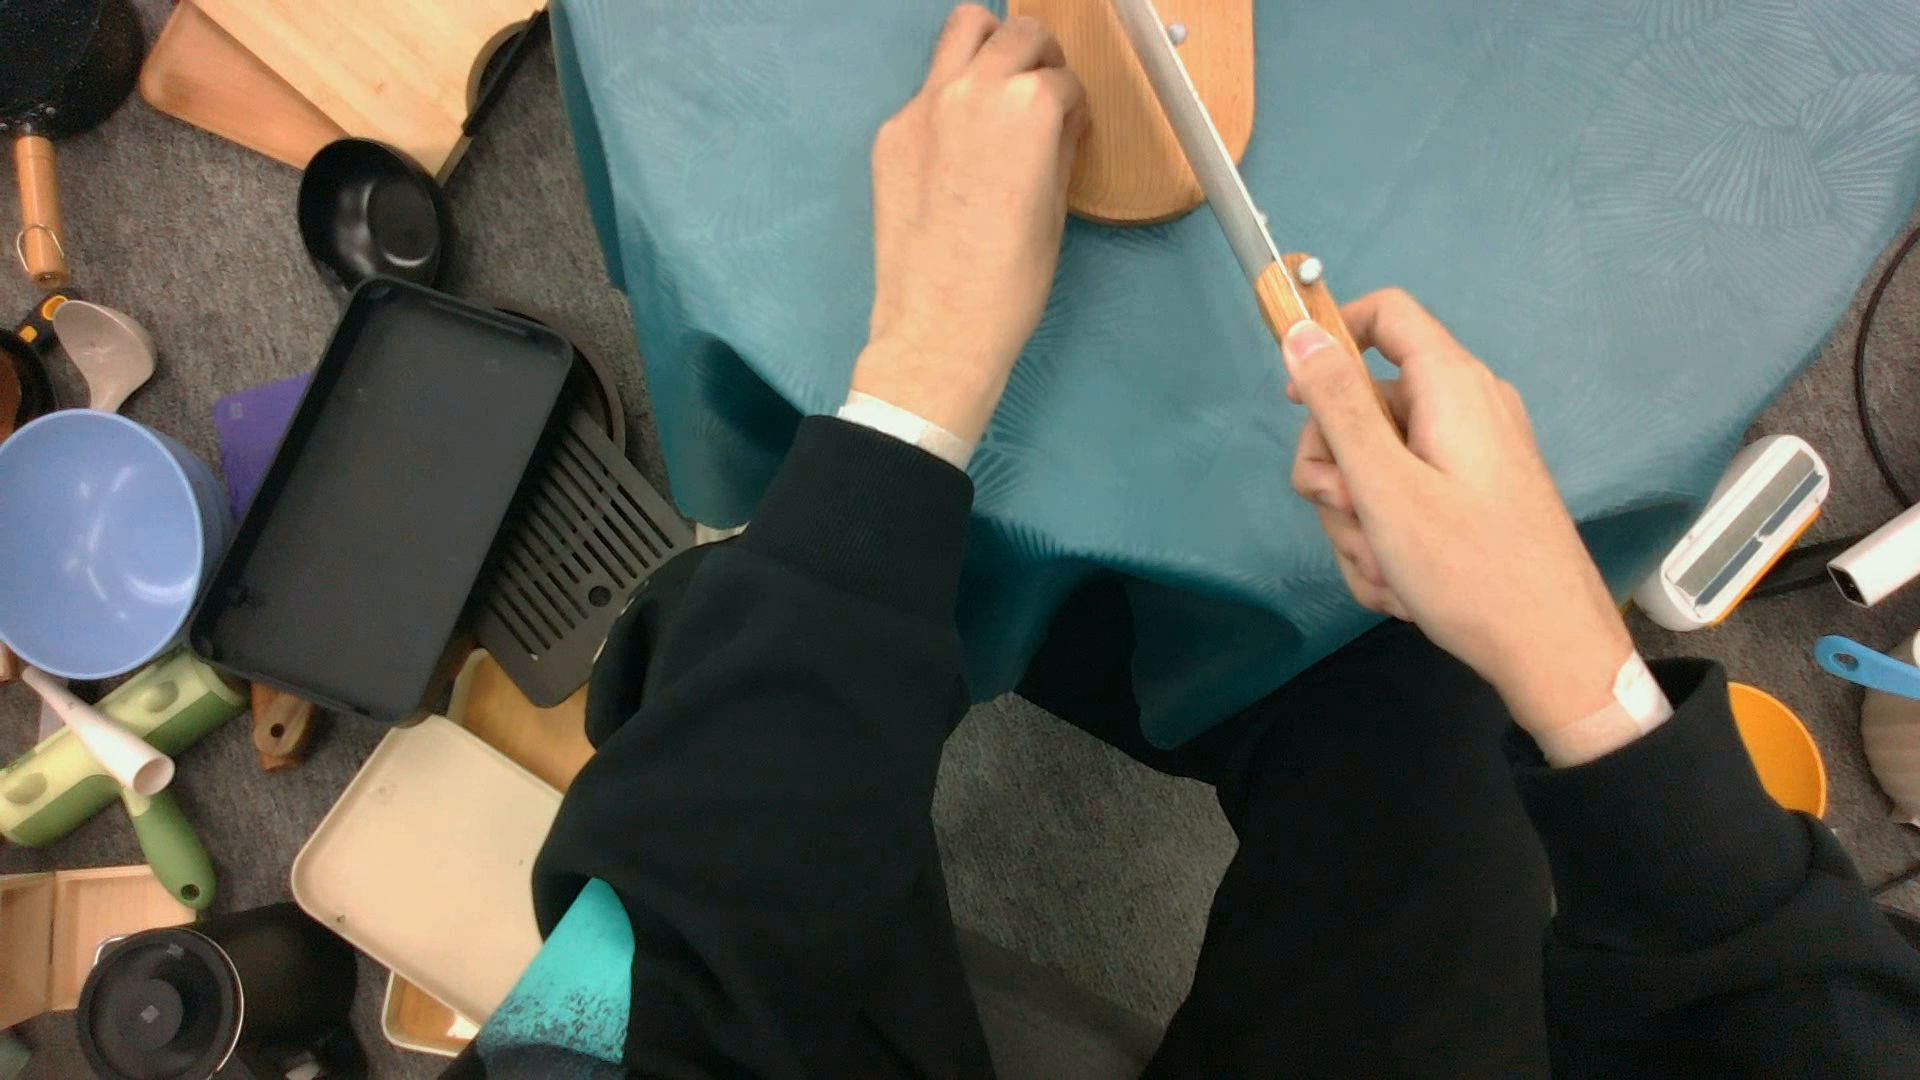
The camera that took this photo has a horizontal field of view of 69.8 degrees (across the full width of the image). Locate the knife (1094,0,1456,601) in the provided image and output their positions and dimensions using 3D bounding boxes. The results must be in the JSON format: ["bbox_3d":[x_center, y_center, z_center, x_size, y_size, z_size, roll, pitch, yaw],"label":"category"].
[{"bbox_3d":[0.097,-0.114,0.497,0.021,0.093,0.306,-25,76,7],"label":"knife"}]

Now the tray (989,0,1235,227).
[{"bbox_3d":[0.063,-0.242,0.581,0.101,0.020,0.231,0,82,2],"label":"tray"}]
